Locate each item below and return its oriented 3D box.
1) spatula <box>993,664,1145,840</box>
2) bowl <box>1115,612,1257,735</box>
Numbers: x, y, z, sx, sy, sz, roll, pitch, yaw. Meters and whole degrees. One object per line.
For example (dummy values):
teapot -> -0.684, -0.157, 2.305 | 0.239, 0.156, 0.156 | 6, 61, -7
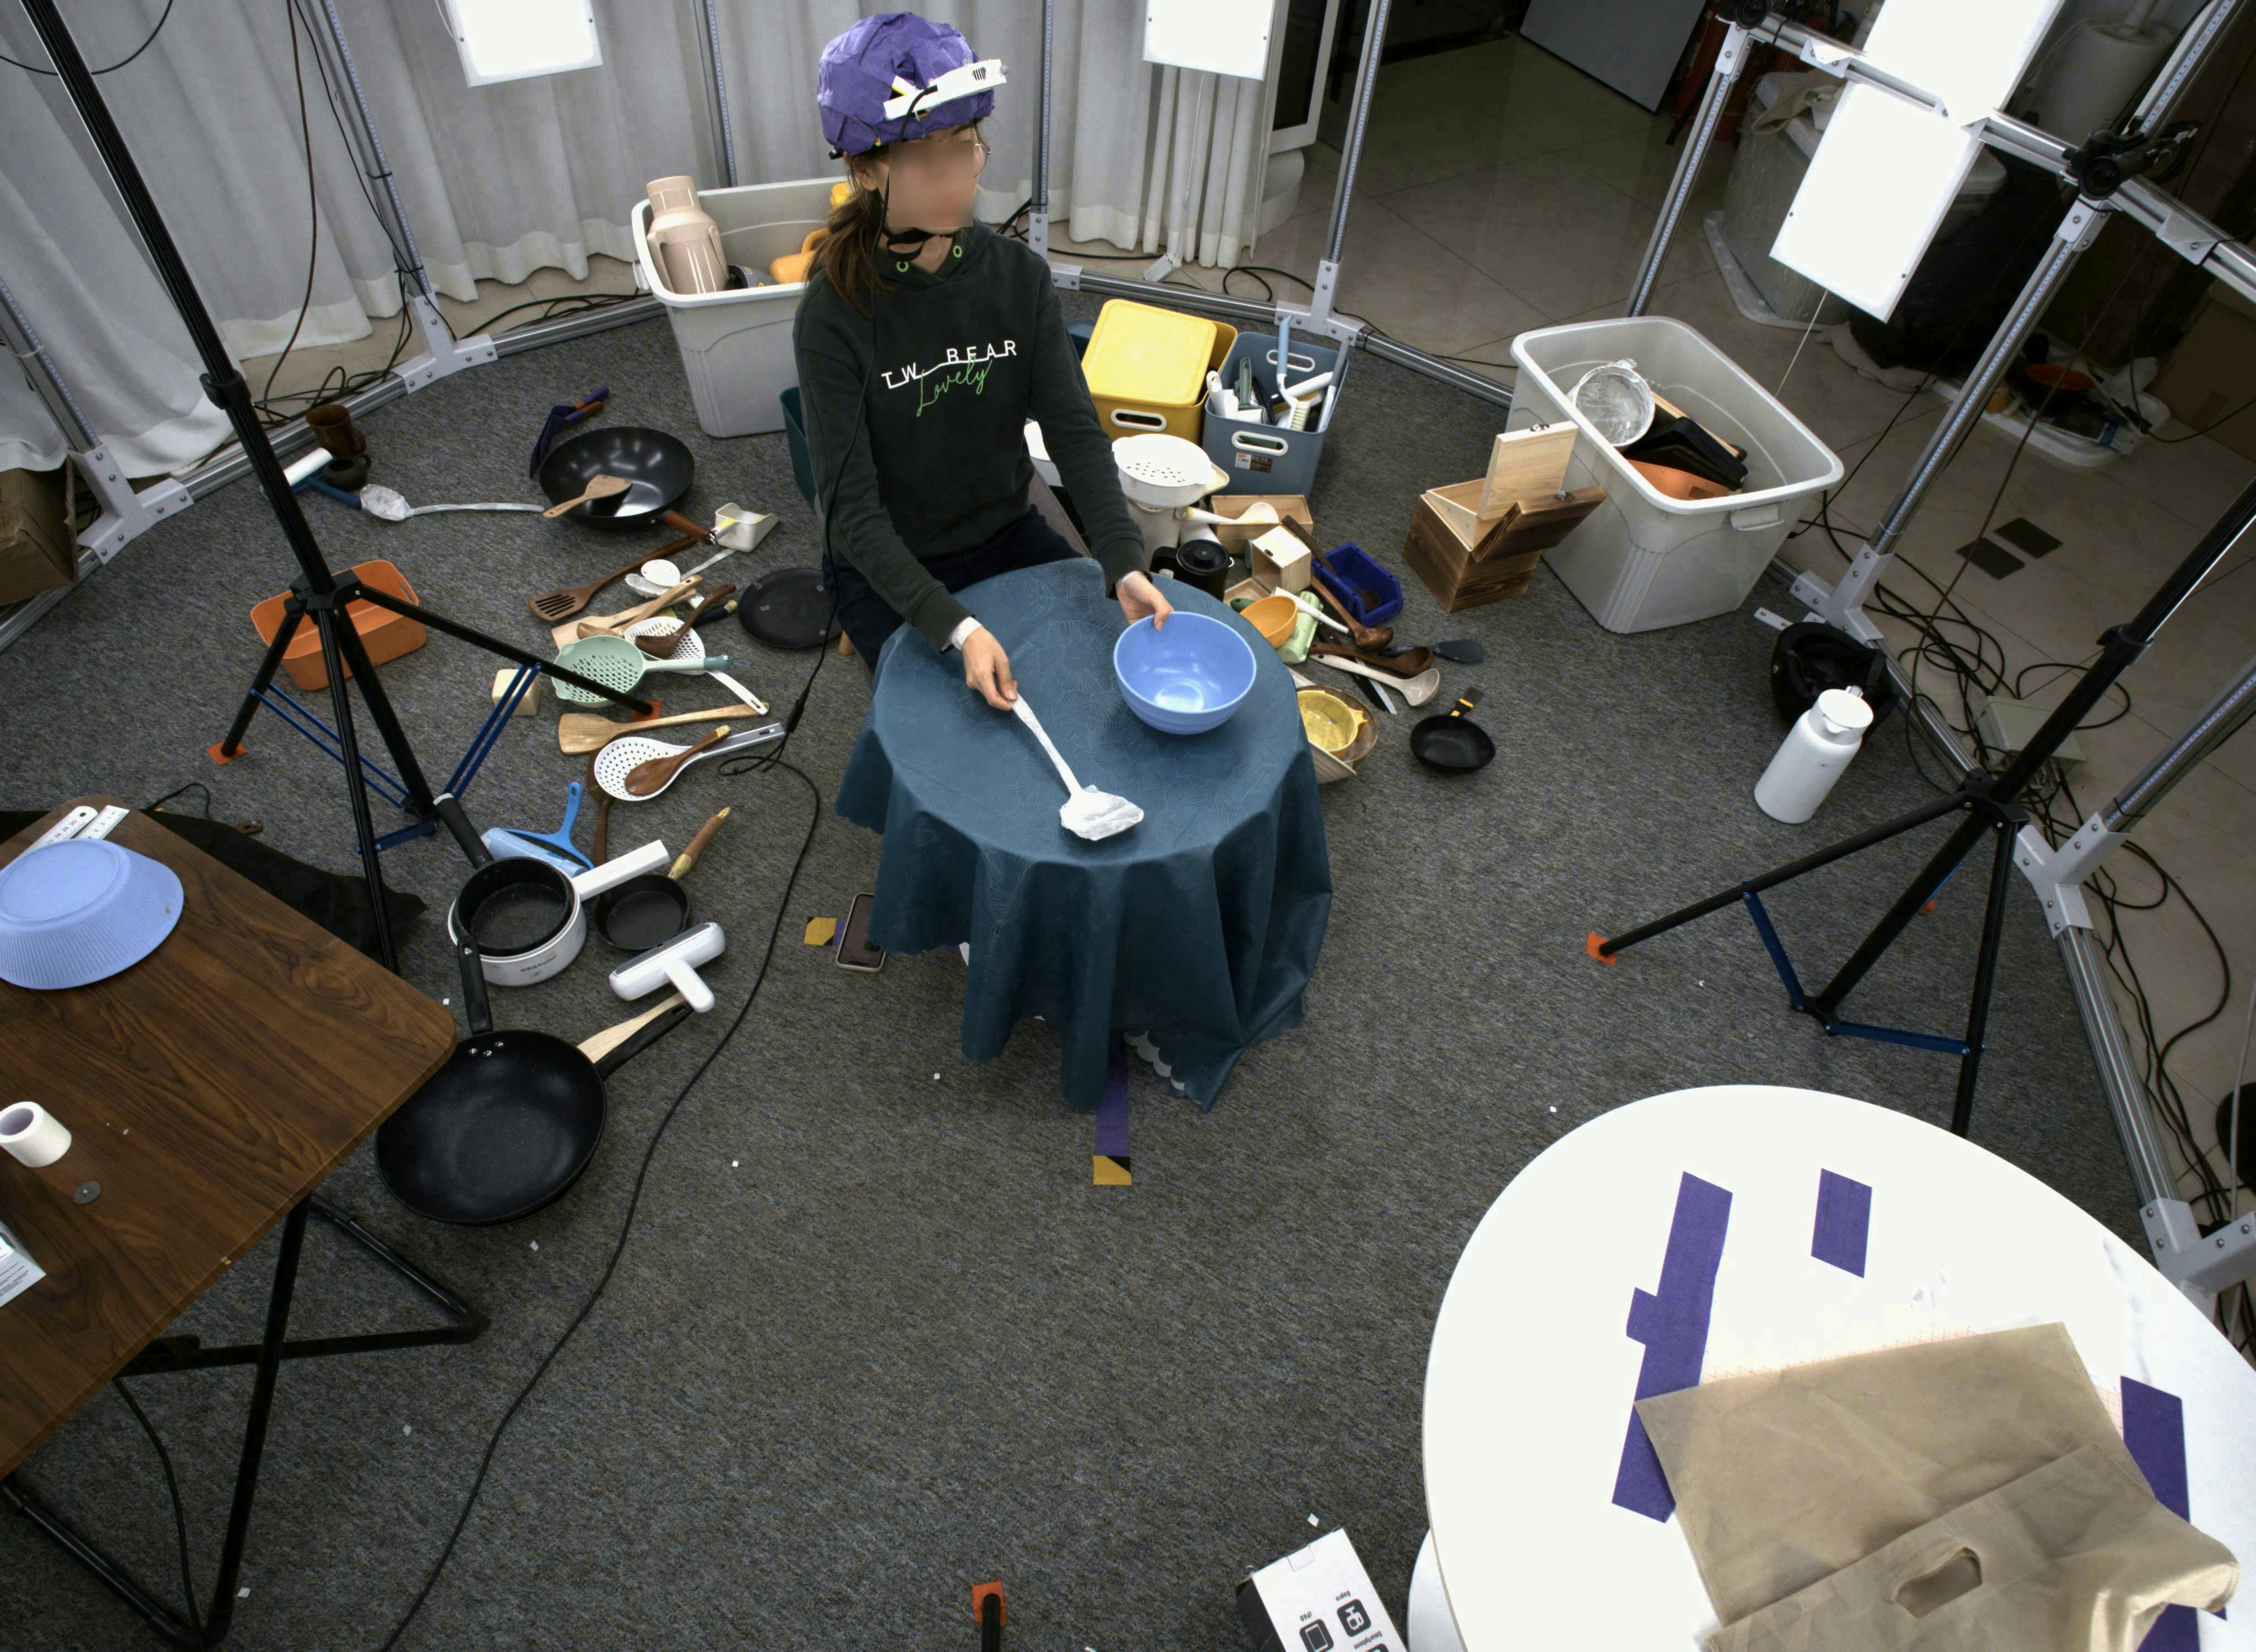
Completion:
spatula -> -0.102, -0.111, 1.739 | 0.099, 0.044, 0.372 | -21, 57, -22
bowl -> 0.076, -0.198, 1.797 | 0.196, 0.093, 0.201 | 3, 51, -4
